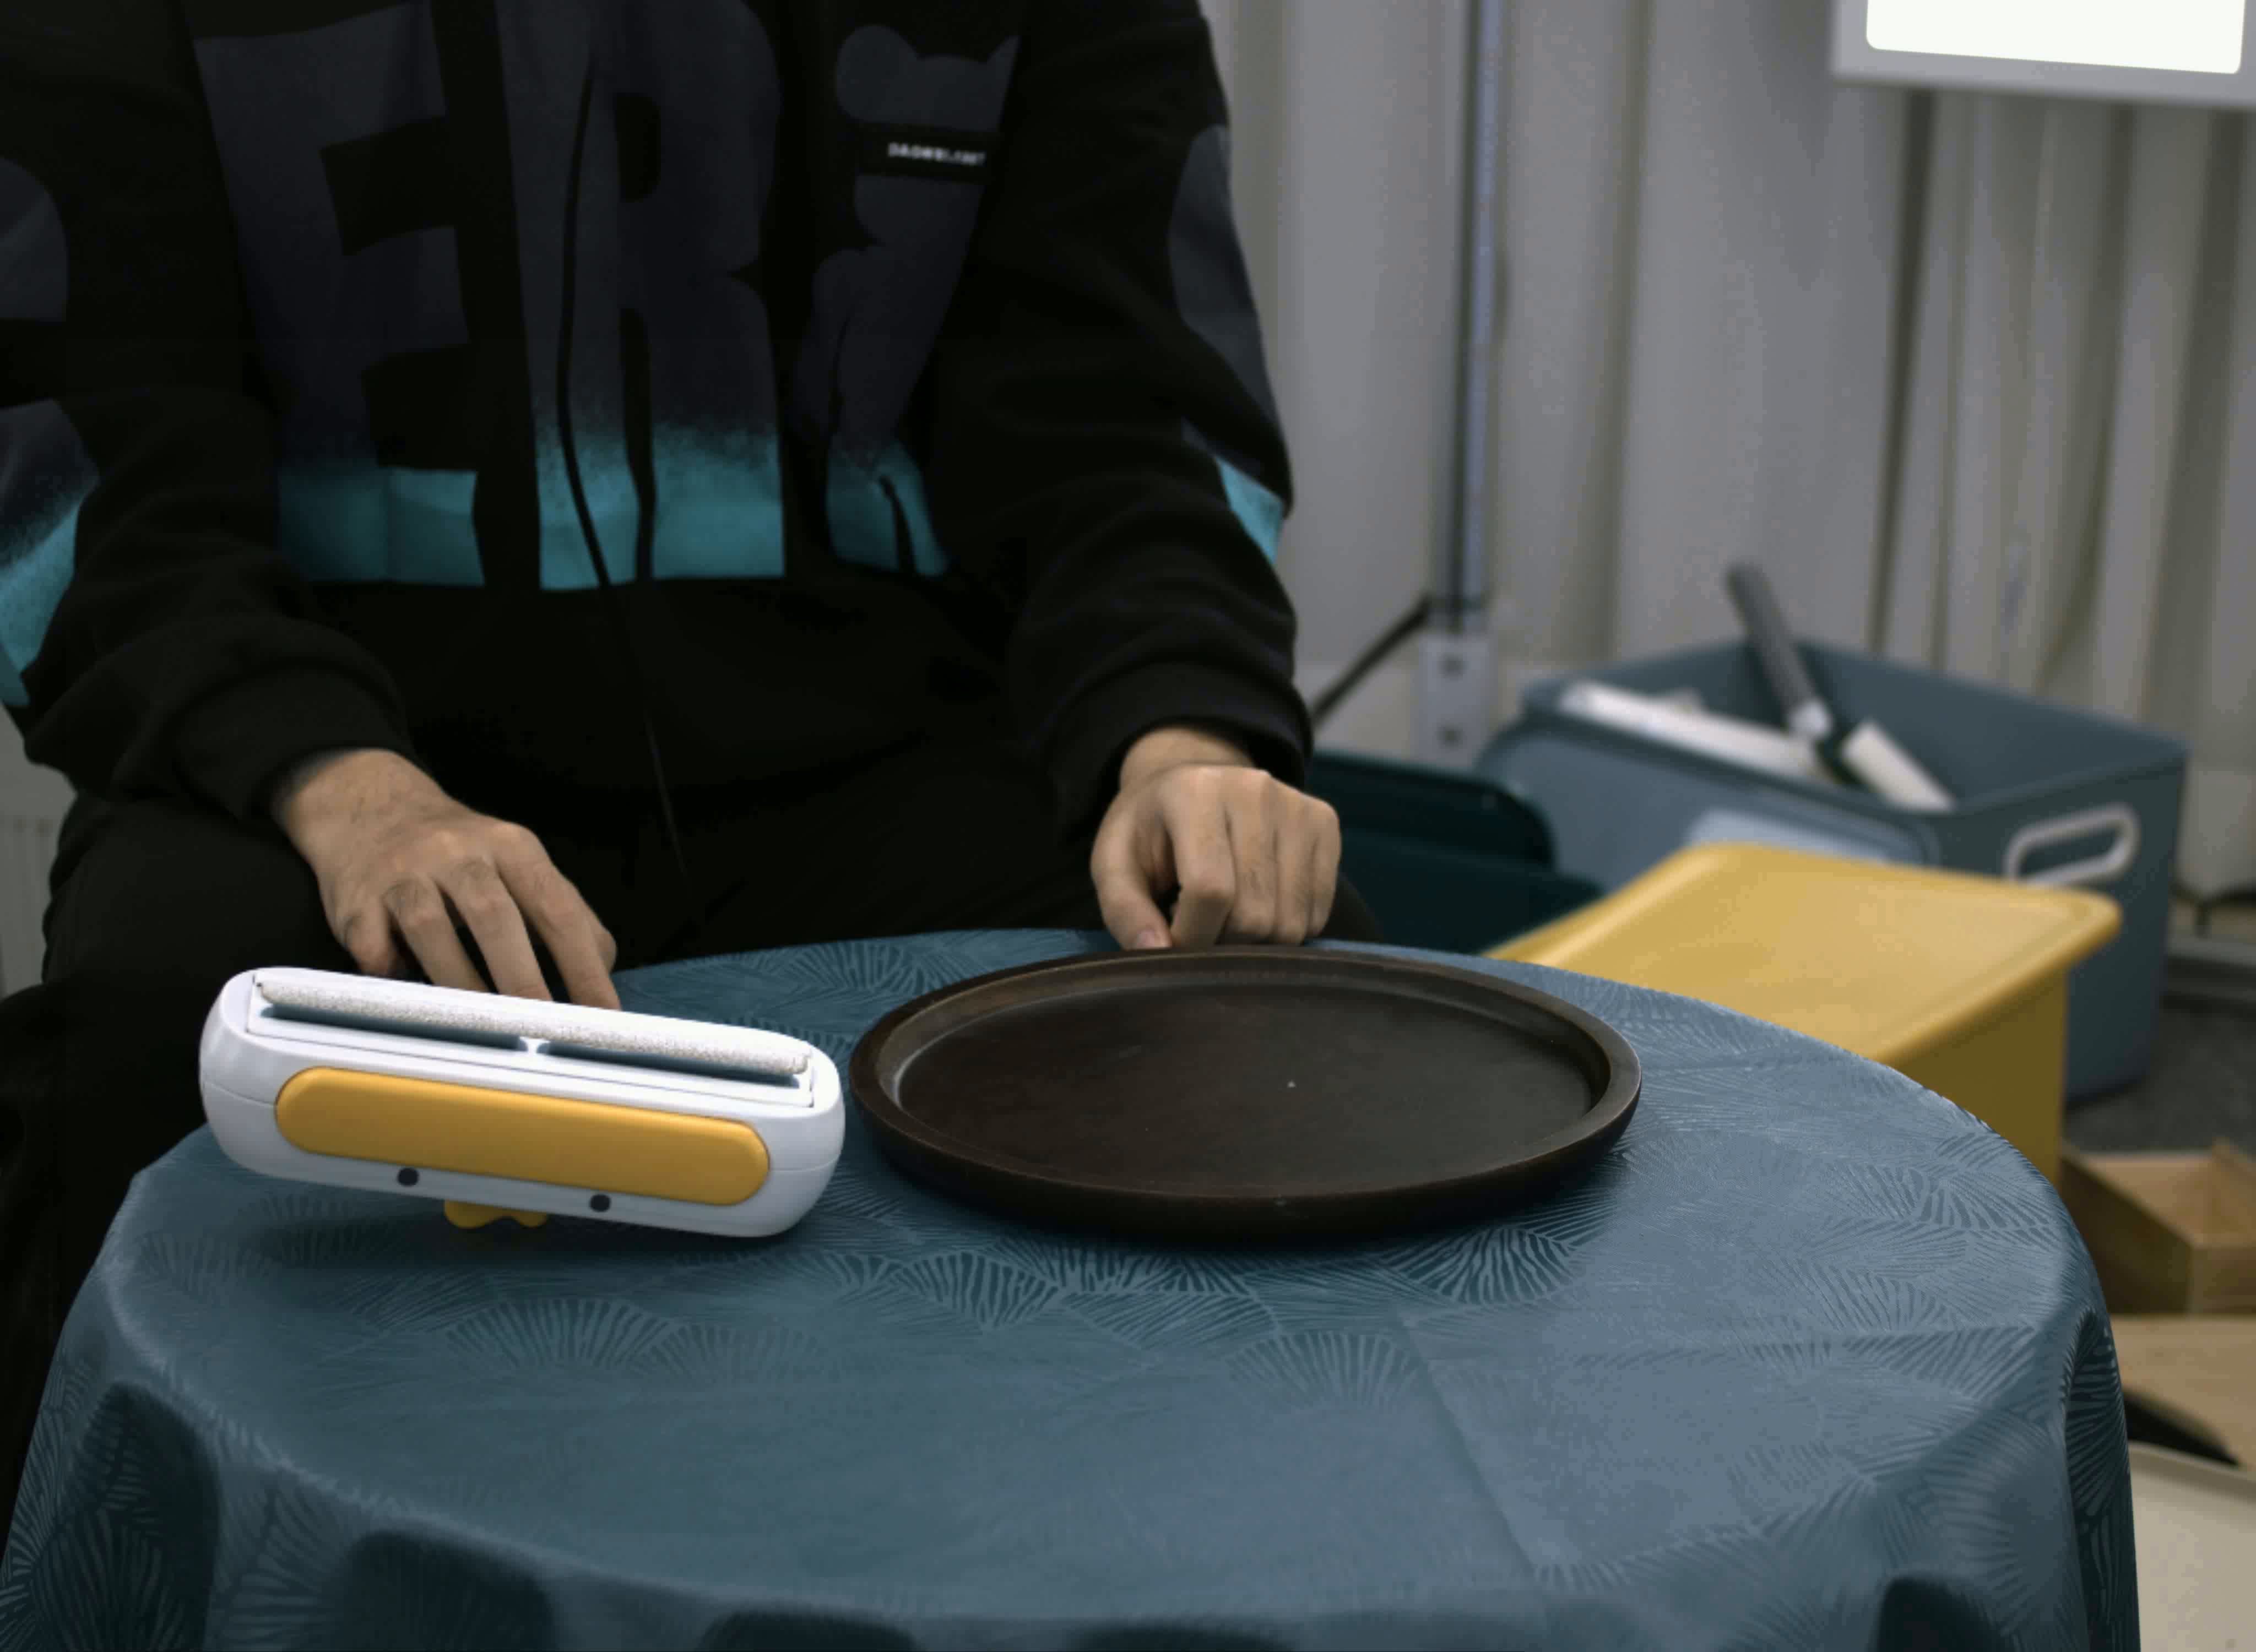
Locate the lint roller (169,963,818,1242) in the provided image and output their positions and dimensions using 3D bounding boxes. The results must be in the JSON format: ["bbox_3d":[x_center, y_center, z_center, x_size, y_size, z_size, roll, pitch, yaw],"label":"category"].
[{"bbox_3d":[-0.192,0.074,1.625,0.192,0.075,0.191,5,14,-5],"label":"lint roller"}]

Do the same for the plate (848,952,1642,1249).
[{"bbox_3d":[0.037,0.085,1.677,0.254,0.029,0.253,0,14,1],"label":"plate"}]
